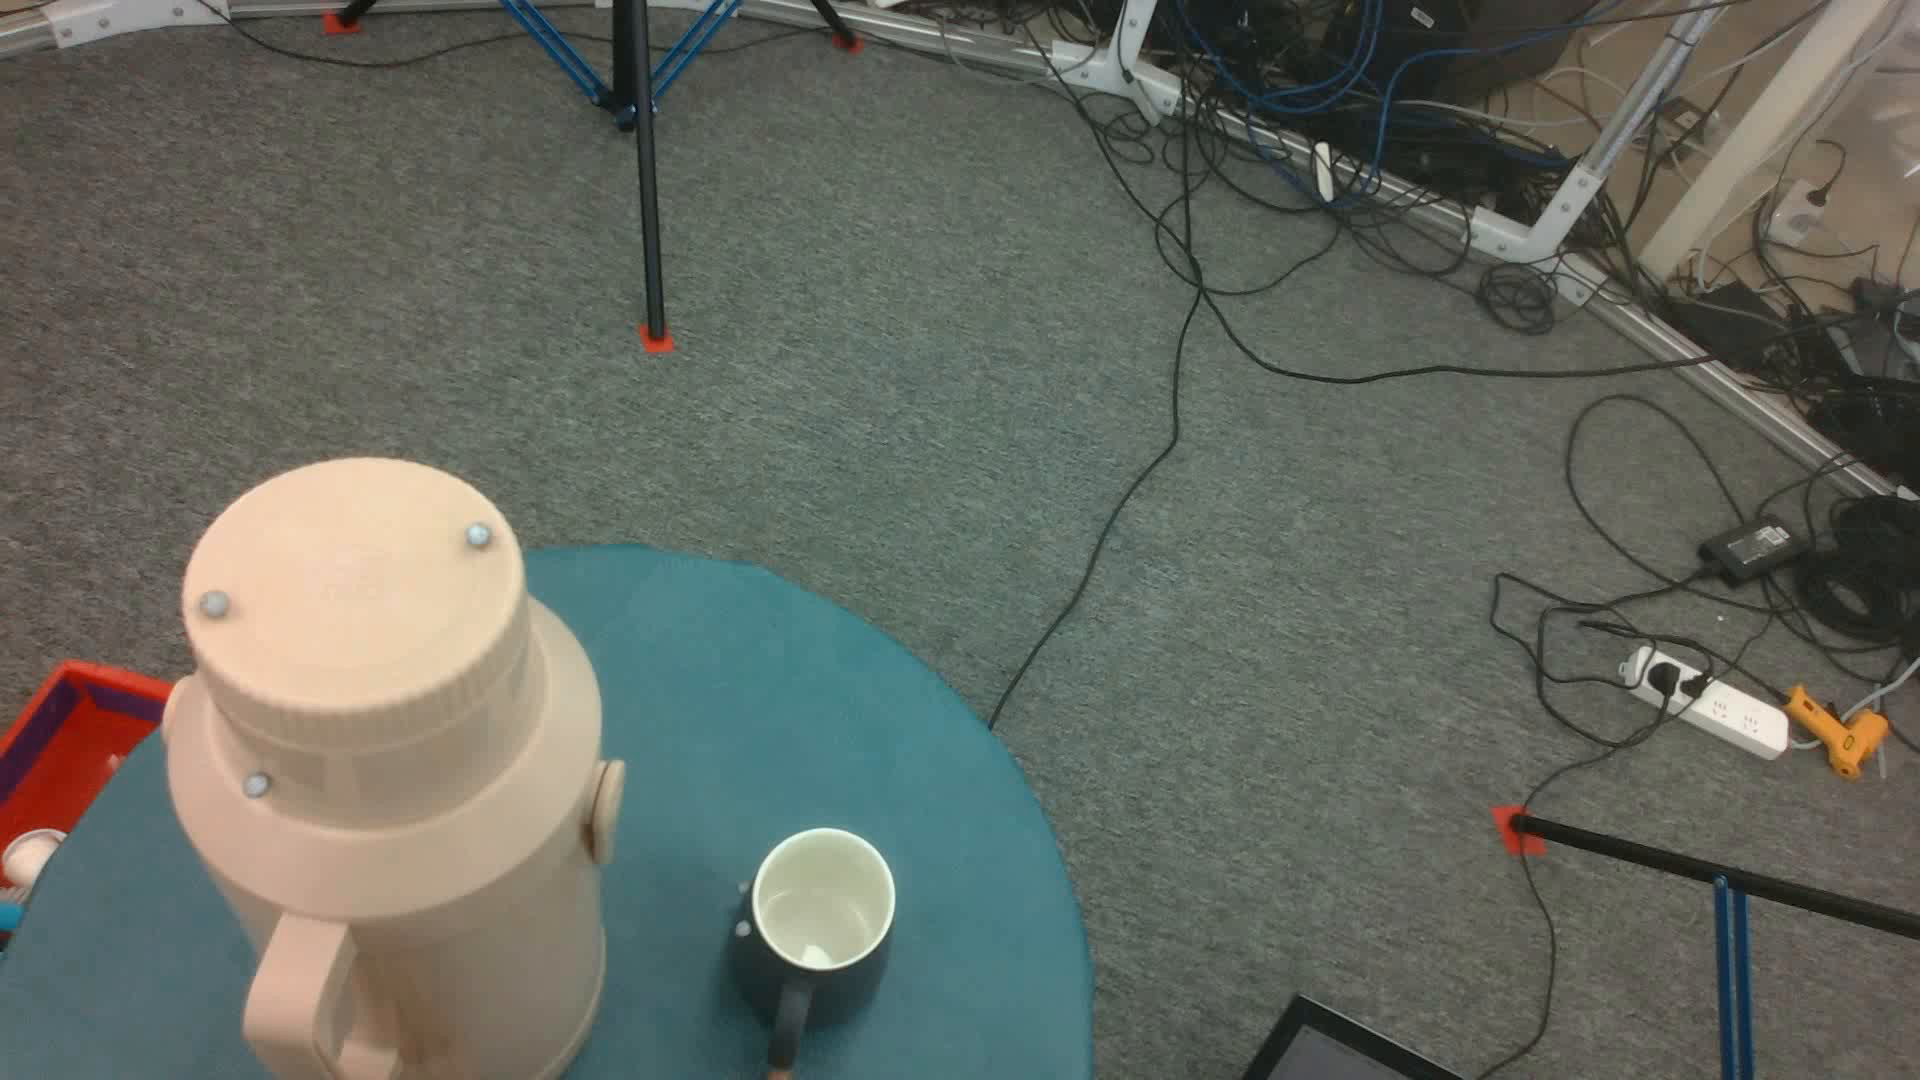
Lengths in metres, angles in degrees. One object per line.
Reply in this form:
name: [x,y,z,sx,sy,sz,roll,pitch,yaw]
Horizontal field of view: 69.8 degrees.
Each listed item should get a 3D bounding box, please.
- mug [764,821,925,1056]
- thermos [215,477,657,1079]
mug: [-0.068,0.231,0.789,0.093,0.089,0.124,14,51,0]
thermos: [-0.230,0.149,0.624,0.175,0.404,0.208,10,52,-5]
